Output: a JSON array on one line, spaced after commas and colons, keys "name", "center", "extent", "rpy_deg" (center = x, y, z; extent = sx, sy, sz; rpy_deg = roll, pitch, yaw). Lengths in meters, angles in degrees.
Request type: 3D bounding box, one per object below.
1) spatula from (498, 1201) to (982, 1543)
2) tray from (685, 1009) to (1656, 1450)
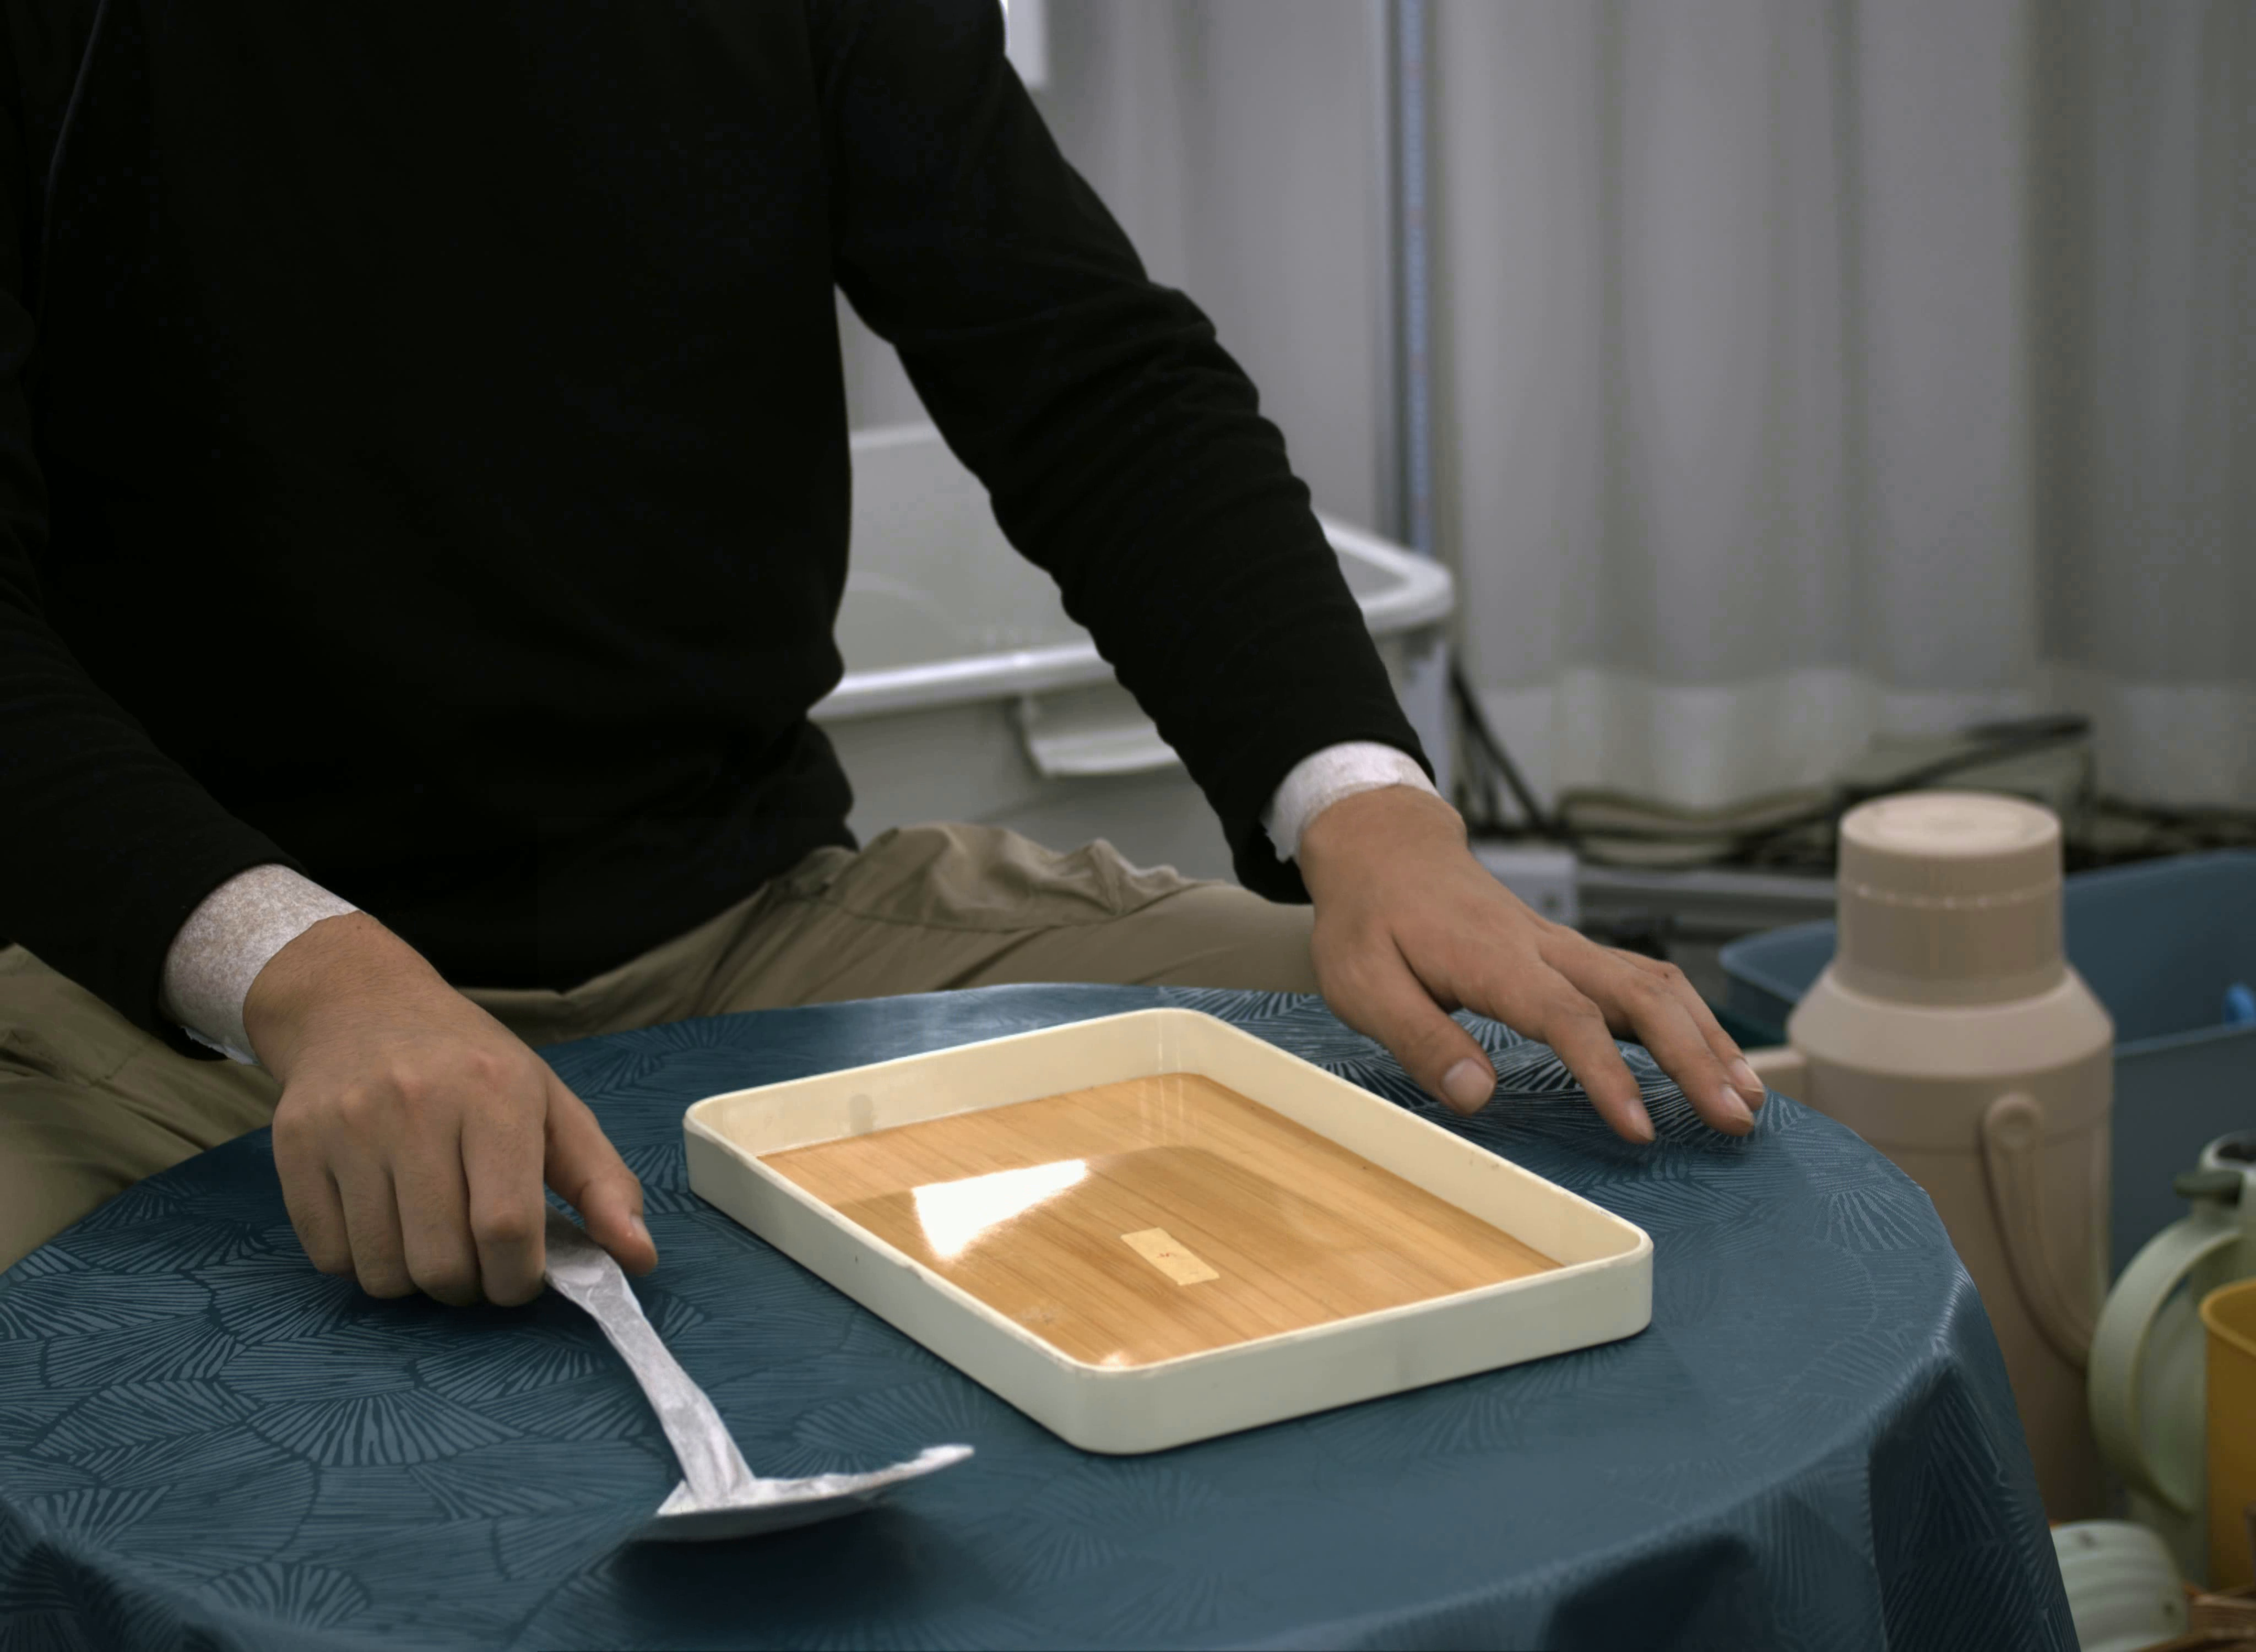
[{"name": "spatula", "center": [-0.135, 0.145, 1.551], "extent": [0.098, 0.044, 0.368], "rpy_deg": [-9, 16, -18]}, {"name": "tray", "center": [0.006, 0.117, 1.653], "extent": [0.191, 0.027, 0.302], "rpy_deg": [-10, 16, -25]}]
